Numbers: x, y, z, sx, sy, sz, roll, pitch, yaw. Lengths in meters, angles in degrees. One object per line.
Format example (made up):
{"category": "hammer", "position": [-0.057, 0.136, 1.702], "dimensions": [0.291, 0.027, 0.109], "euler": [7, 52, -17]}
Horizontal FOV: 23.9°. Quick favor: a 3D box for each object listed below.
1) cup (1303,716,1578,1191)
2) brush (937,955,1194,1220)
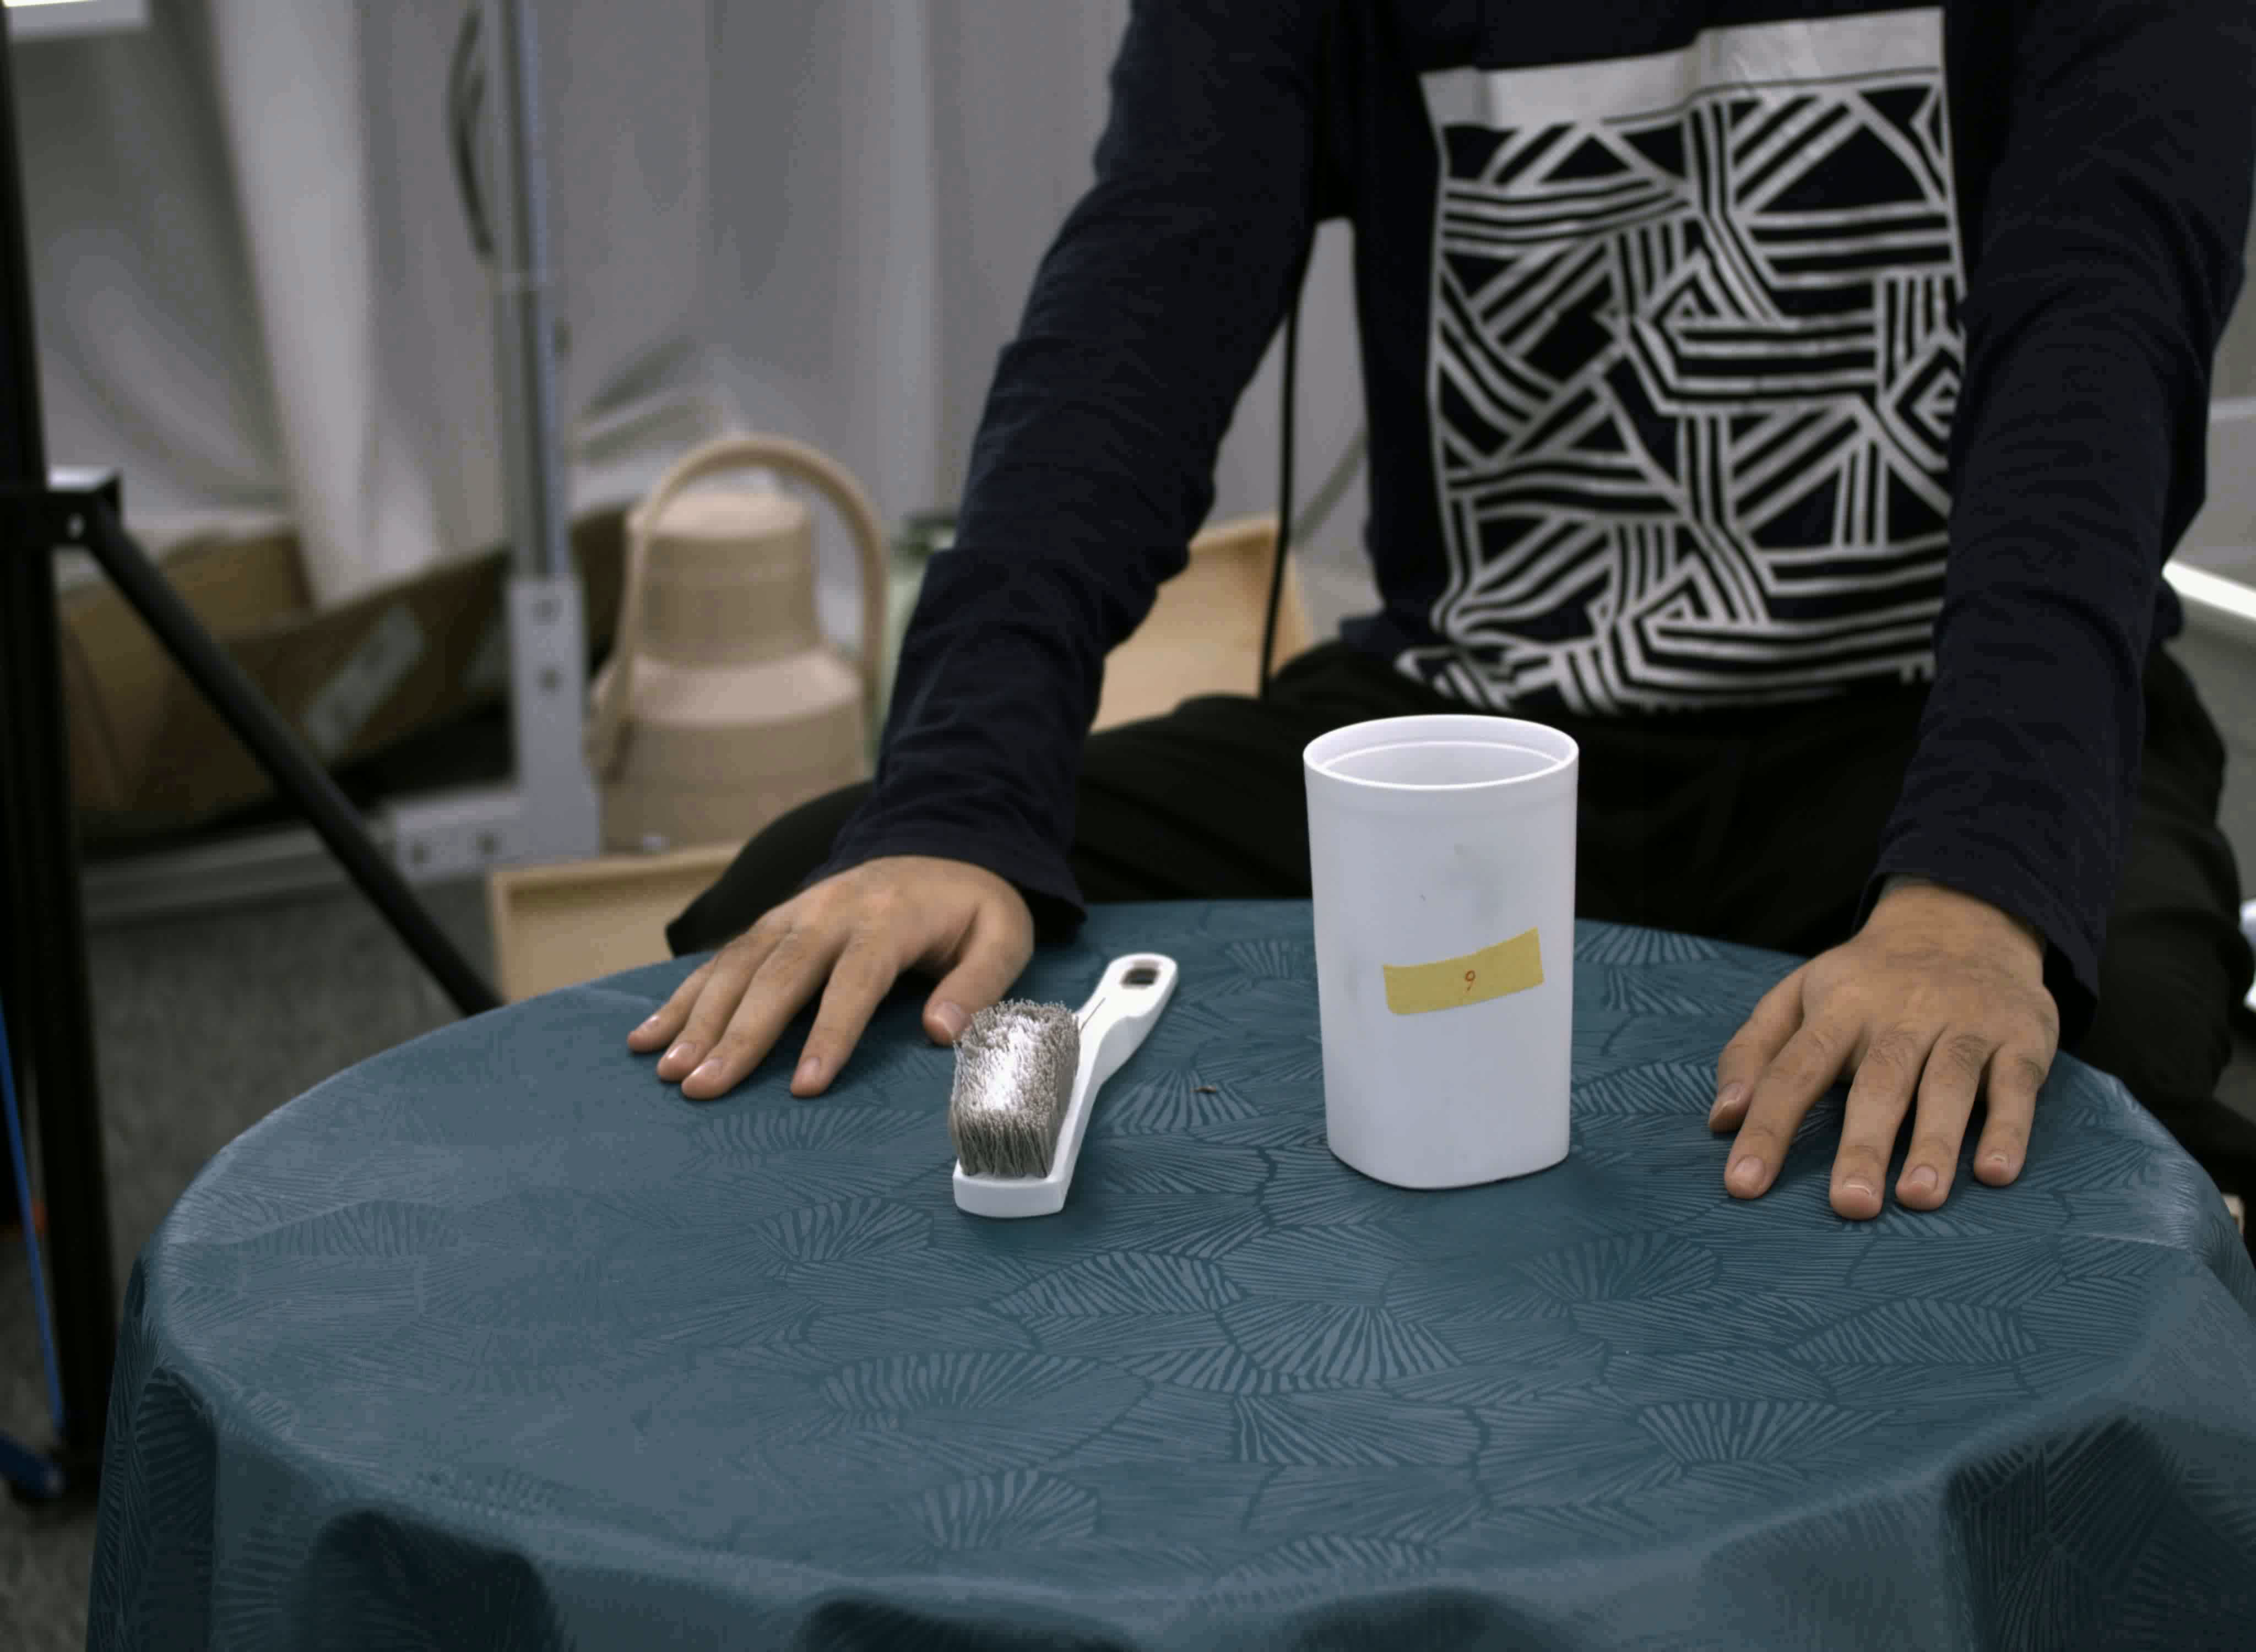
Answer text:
{"category": "cup", "position": [0.092, 0.038, 1.569], "dimensions": [0.081, 0.125, 0.082], "euler": [-1, 14, -1]}
{"category": "brush", "position": [-0.015, 0.061, 1.641], "dimensions": [0.034, 0.050, 0.242], "euler": [-1, 16, 14]}
